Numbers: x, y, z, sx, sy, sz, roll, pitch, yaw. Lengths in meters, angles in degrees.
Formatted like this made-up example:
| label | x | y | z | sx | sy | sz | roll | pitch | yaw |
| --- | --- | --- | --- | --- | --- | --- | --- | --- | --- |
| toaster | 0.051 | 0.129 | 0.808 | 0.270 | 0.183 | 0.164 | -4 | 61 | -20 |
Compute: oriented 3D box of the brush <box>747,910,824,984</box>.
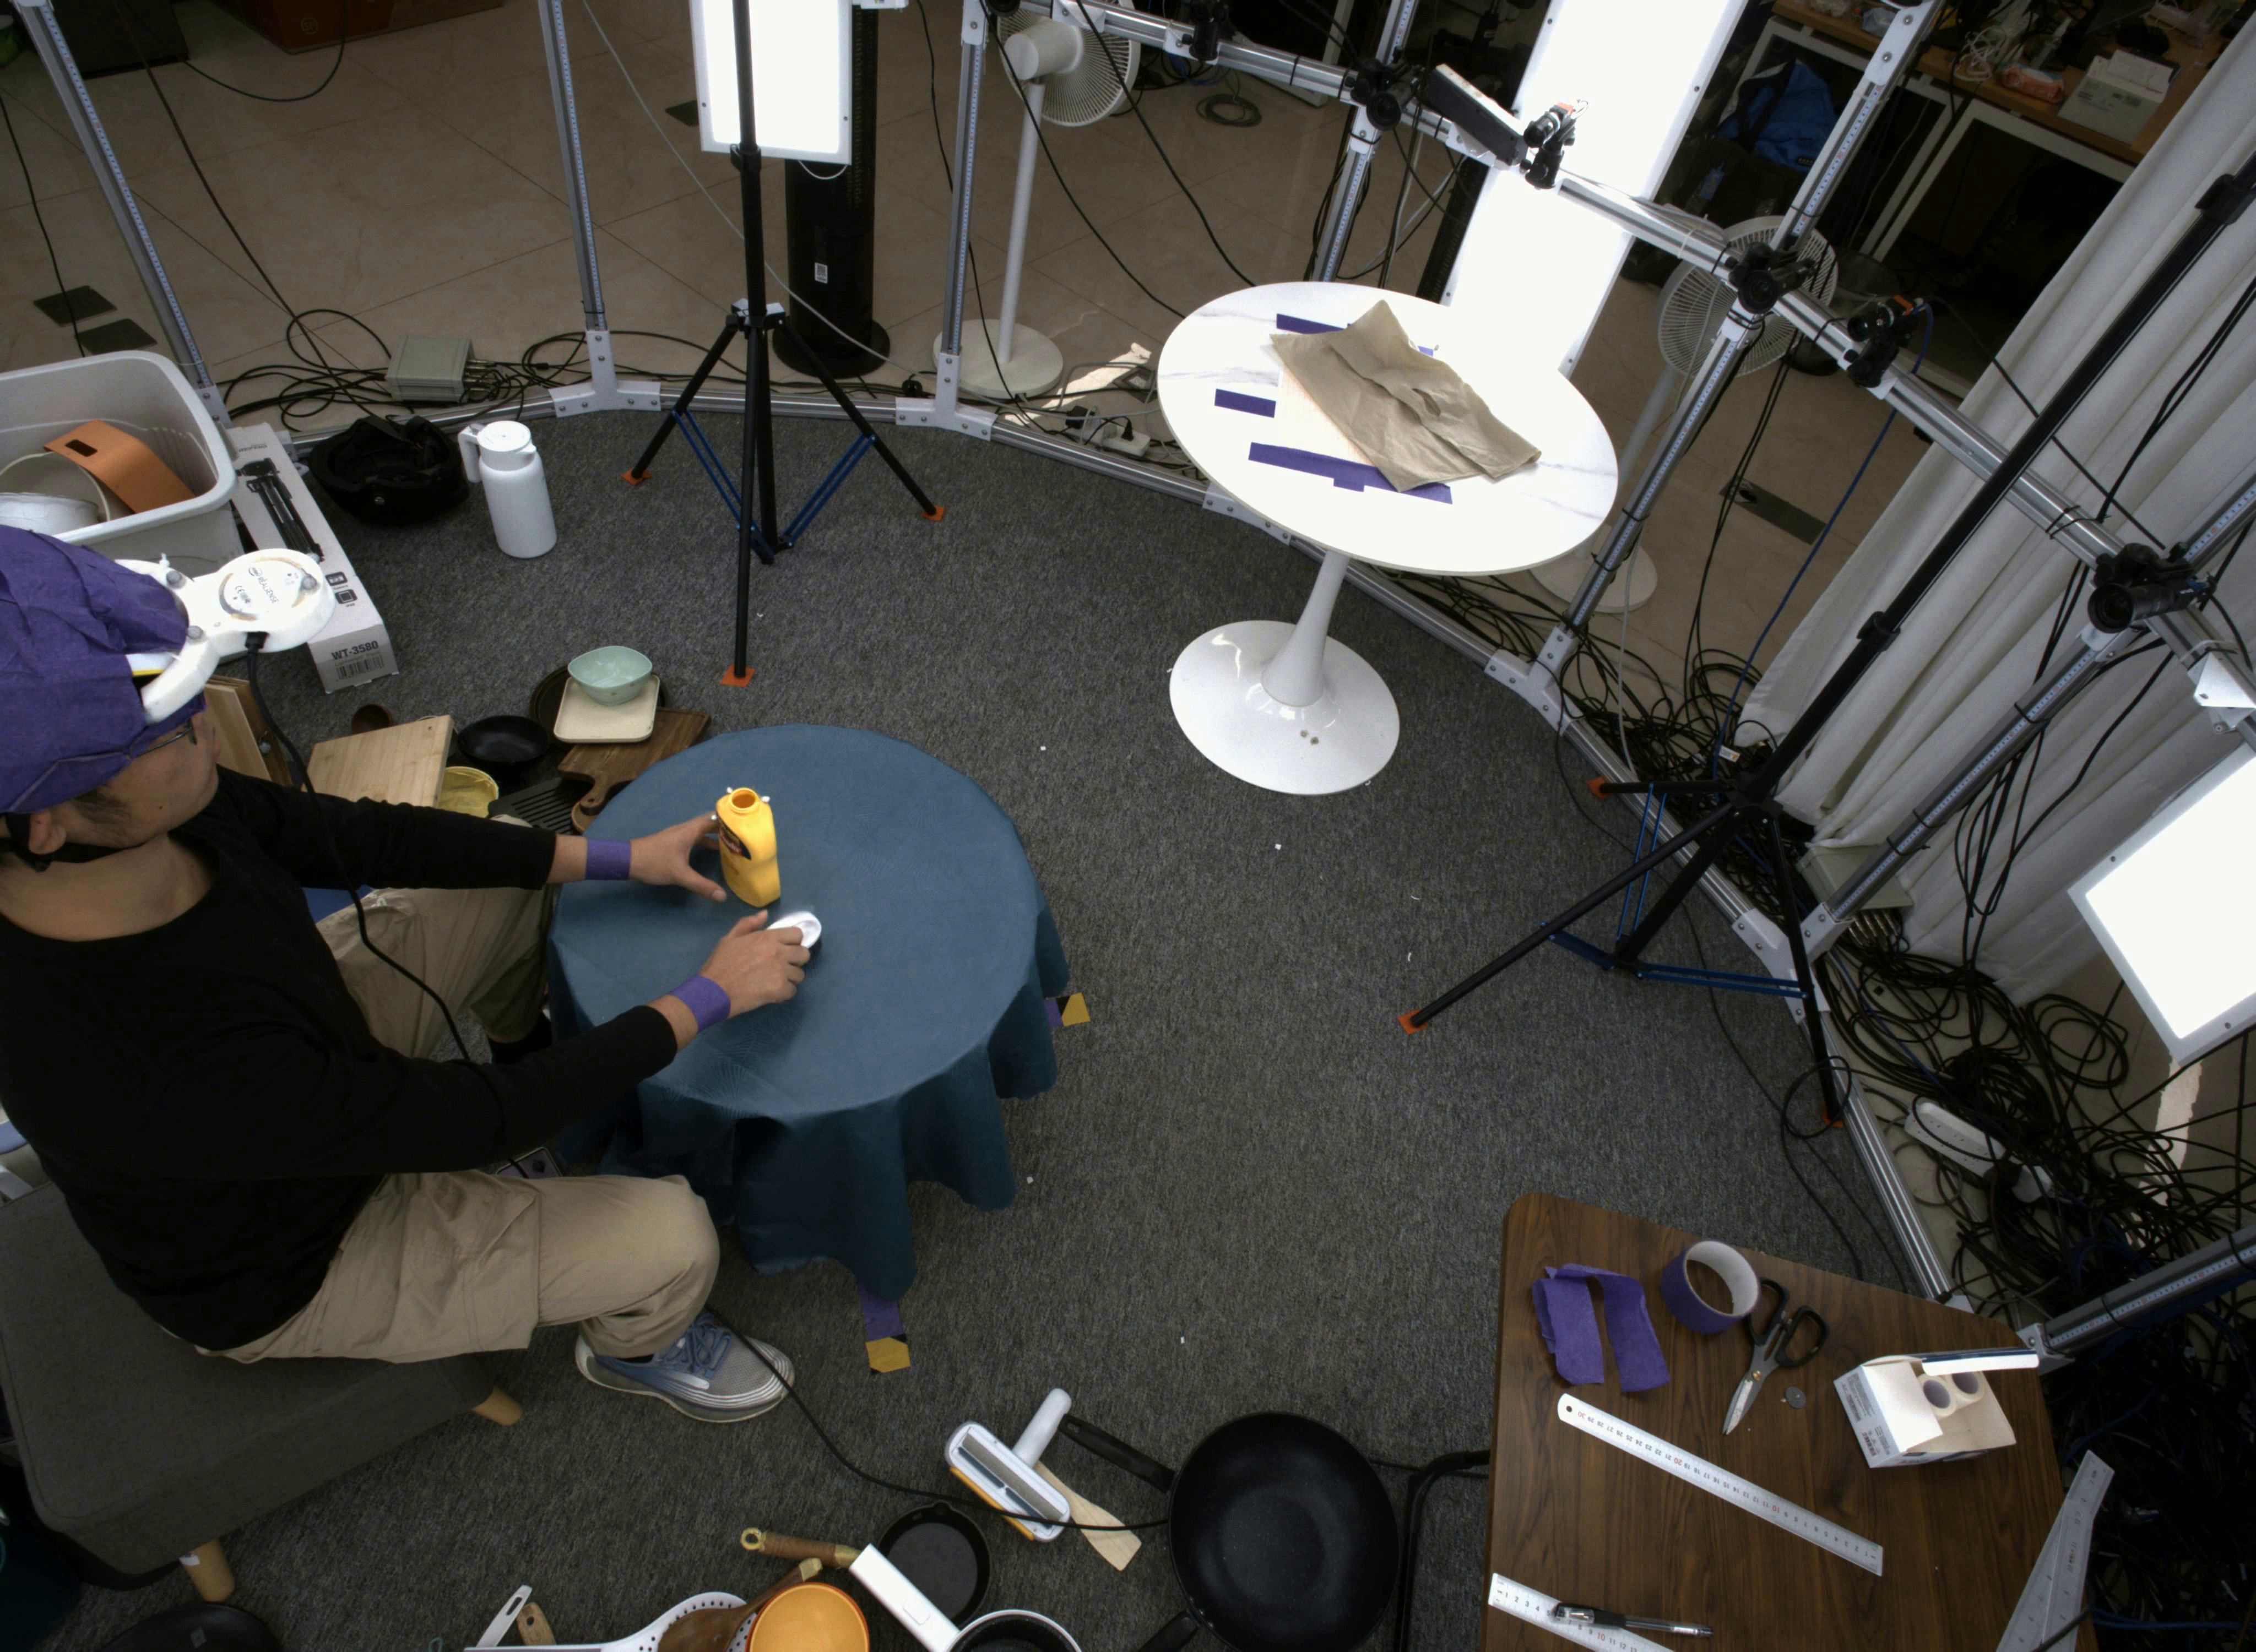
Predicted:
| label | x | y | z | sx | sy | sz | roll | pitch | yaw |
| --- | --- | --- | --- | --- | --- | --- | --- | --- | --- |
| brush | -0.418 | 0.138 | 1.578 | 0.099 | 0.074 | 0.049 | -32 | 63 | -33 |

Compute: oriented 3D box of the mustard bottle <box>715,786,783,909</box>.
| label | x | y | z | sx | sy | sz | roll | pitch | yaw |
| --- | --- | --- | --- | --- | --- | --- | --- | --- | --- |
| mustard bottle | -0.469 | 0.018 | 1.594 | 0.059 | 0.175 | 0.096 | -35 | 68 | -29 |
